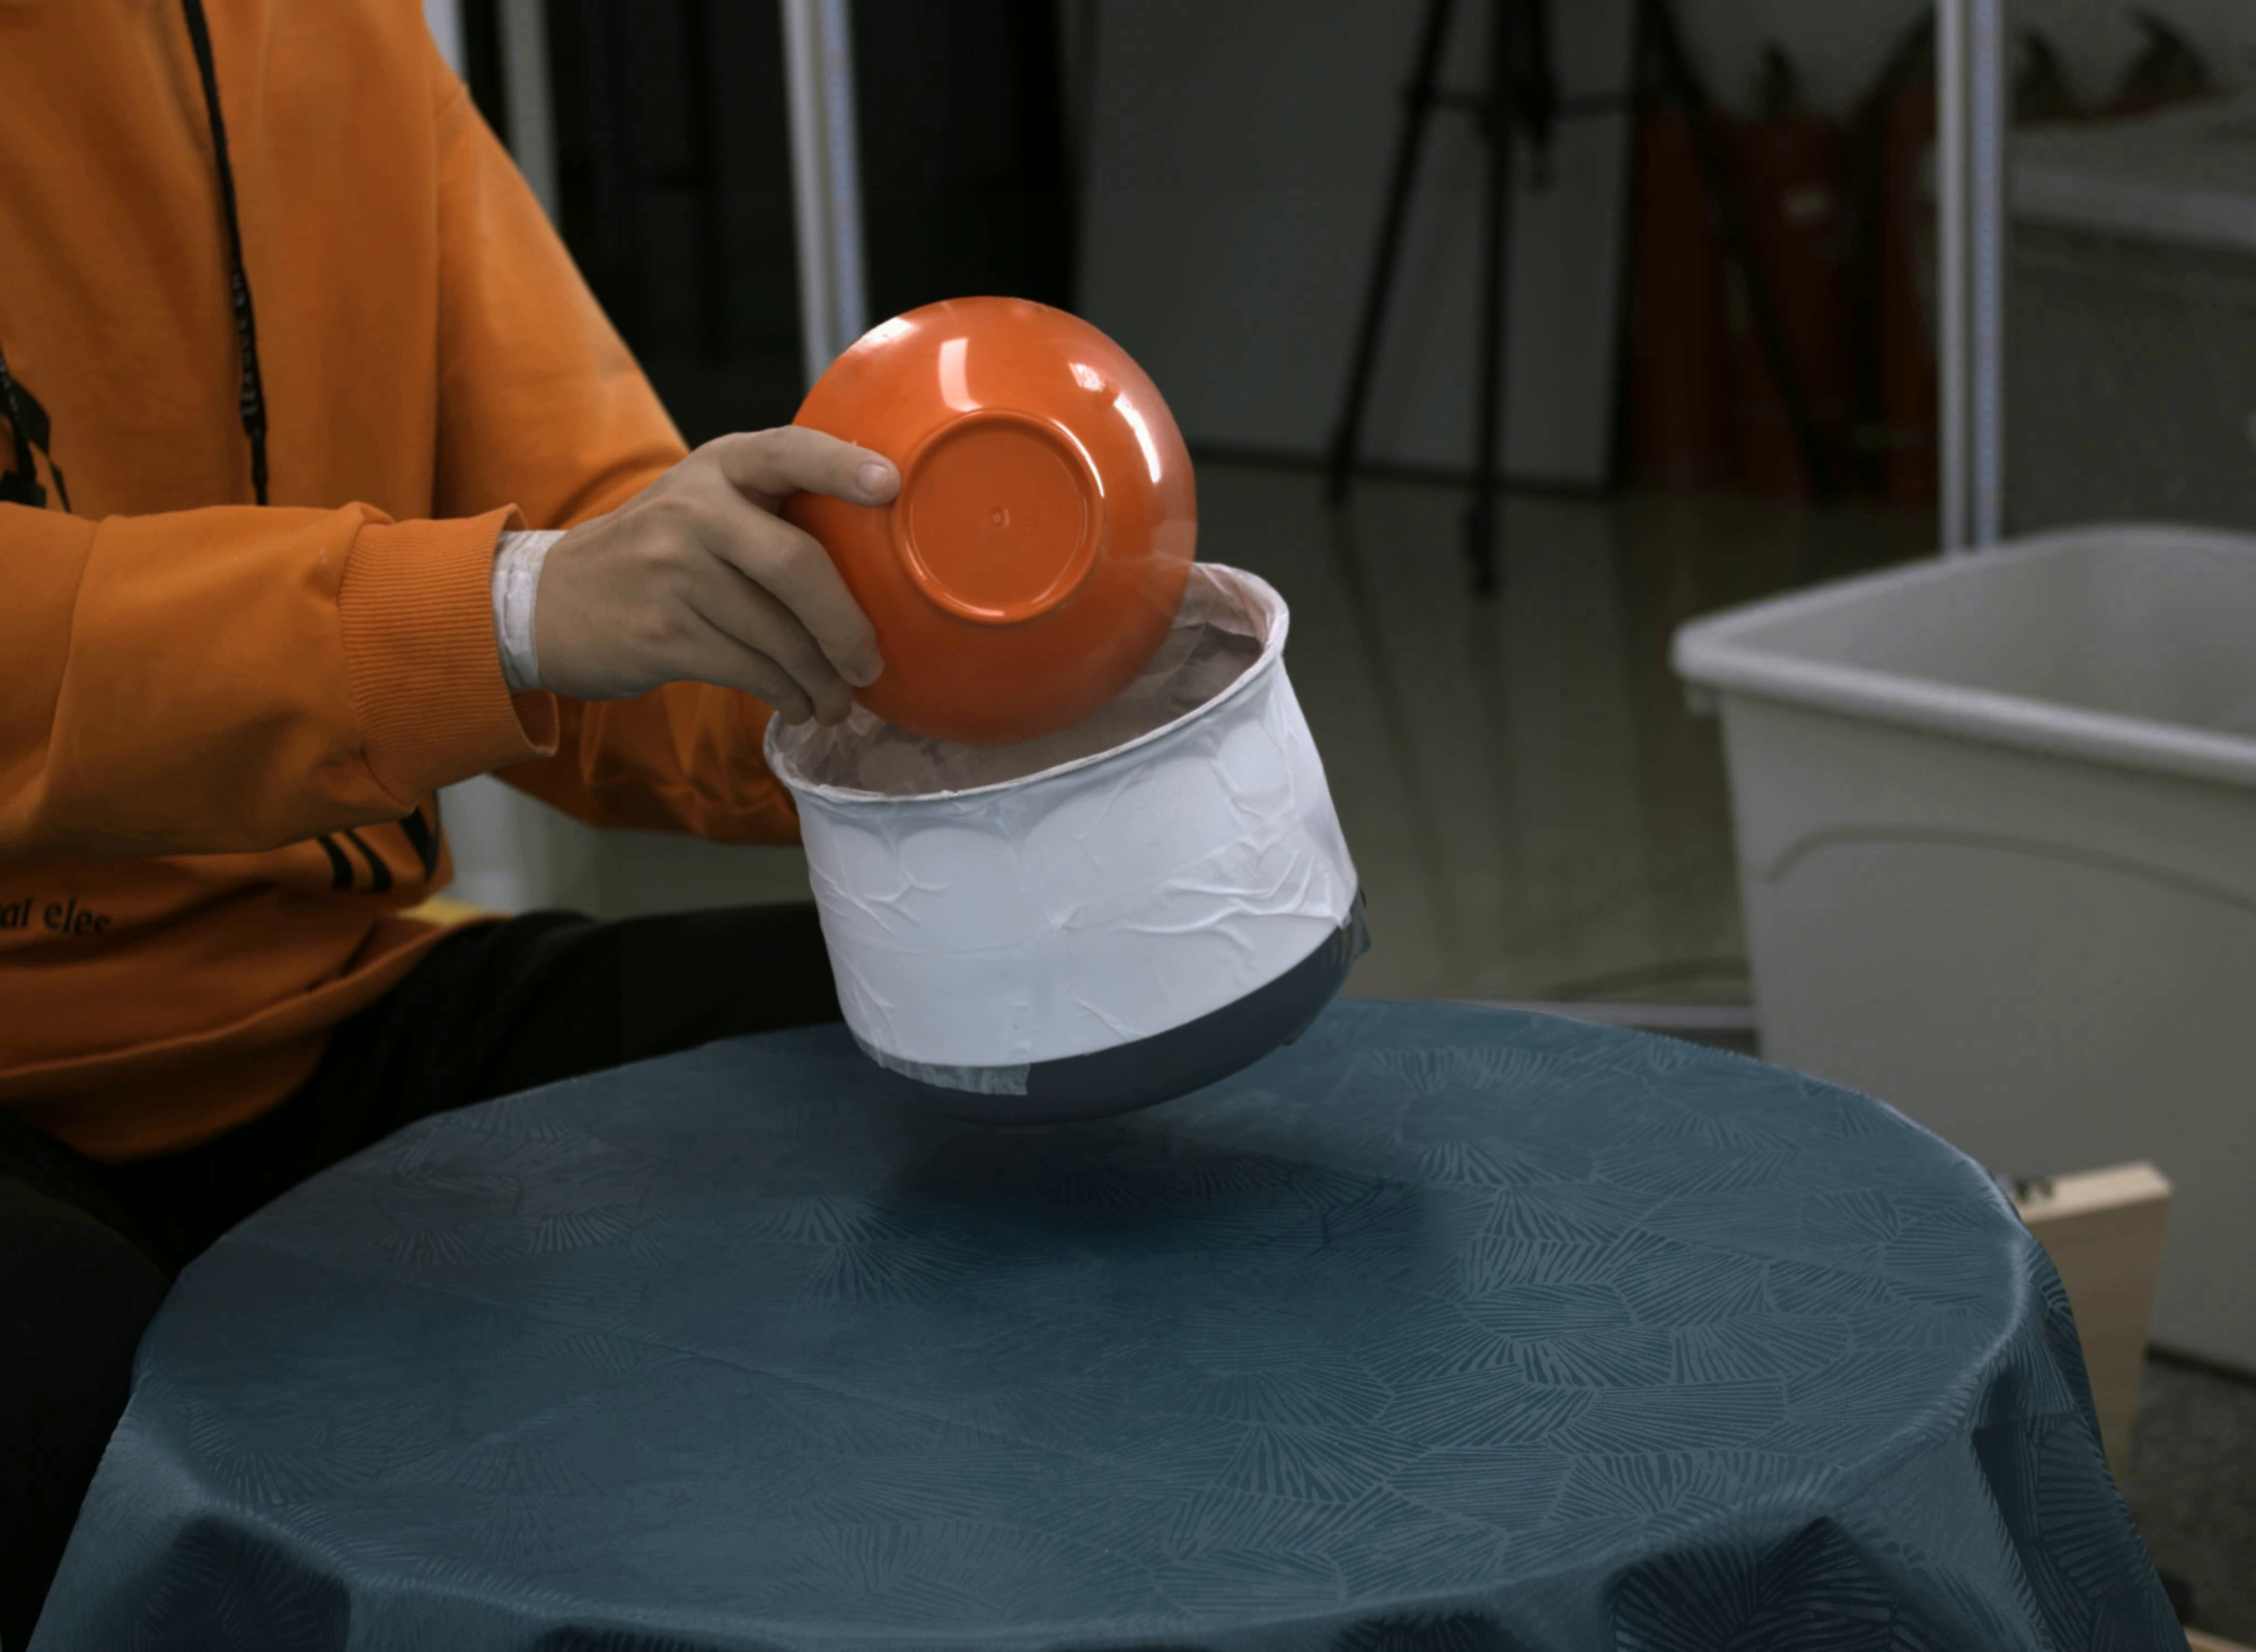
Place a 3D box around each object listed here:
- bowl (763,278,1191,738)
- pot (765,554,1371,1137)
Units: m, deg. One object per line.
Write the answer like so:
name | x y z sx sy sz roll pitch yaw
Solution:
bowl | -0.040 -0.101 1.720 0.145 0.150 0.105 -6 4 -11
pot | -0.026 -0.001 1.786 0.176 0.137 0.236 -20 22 -11
